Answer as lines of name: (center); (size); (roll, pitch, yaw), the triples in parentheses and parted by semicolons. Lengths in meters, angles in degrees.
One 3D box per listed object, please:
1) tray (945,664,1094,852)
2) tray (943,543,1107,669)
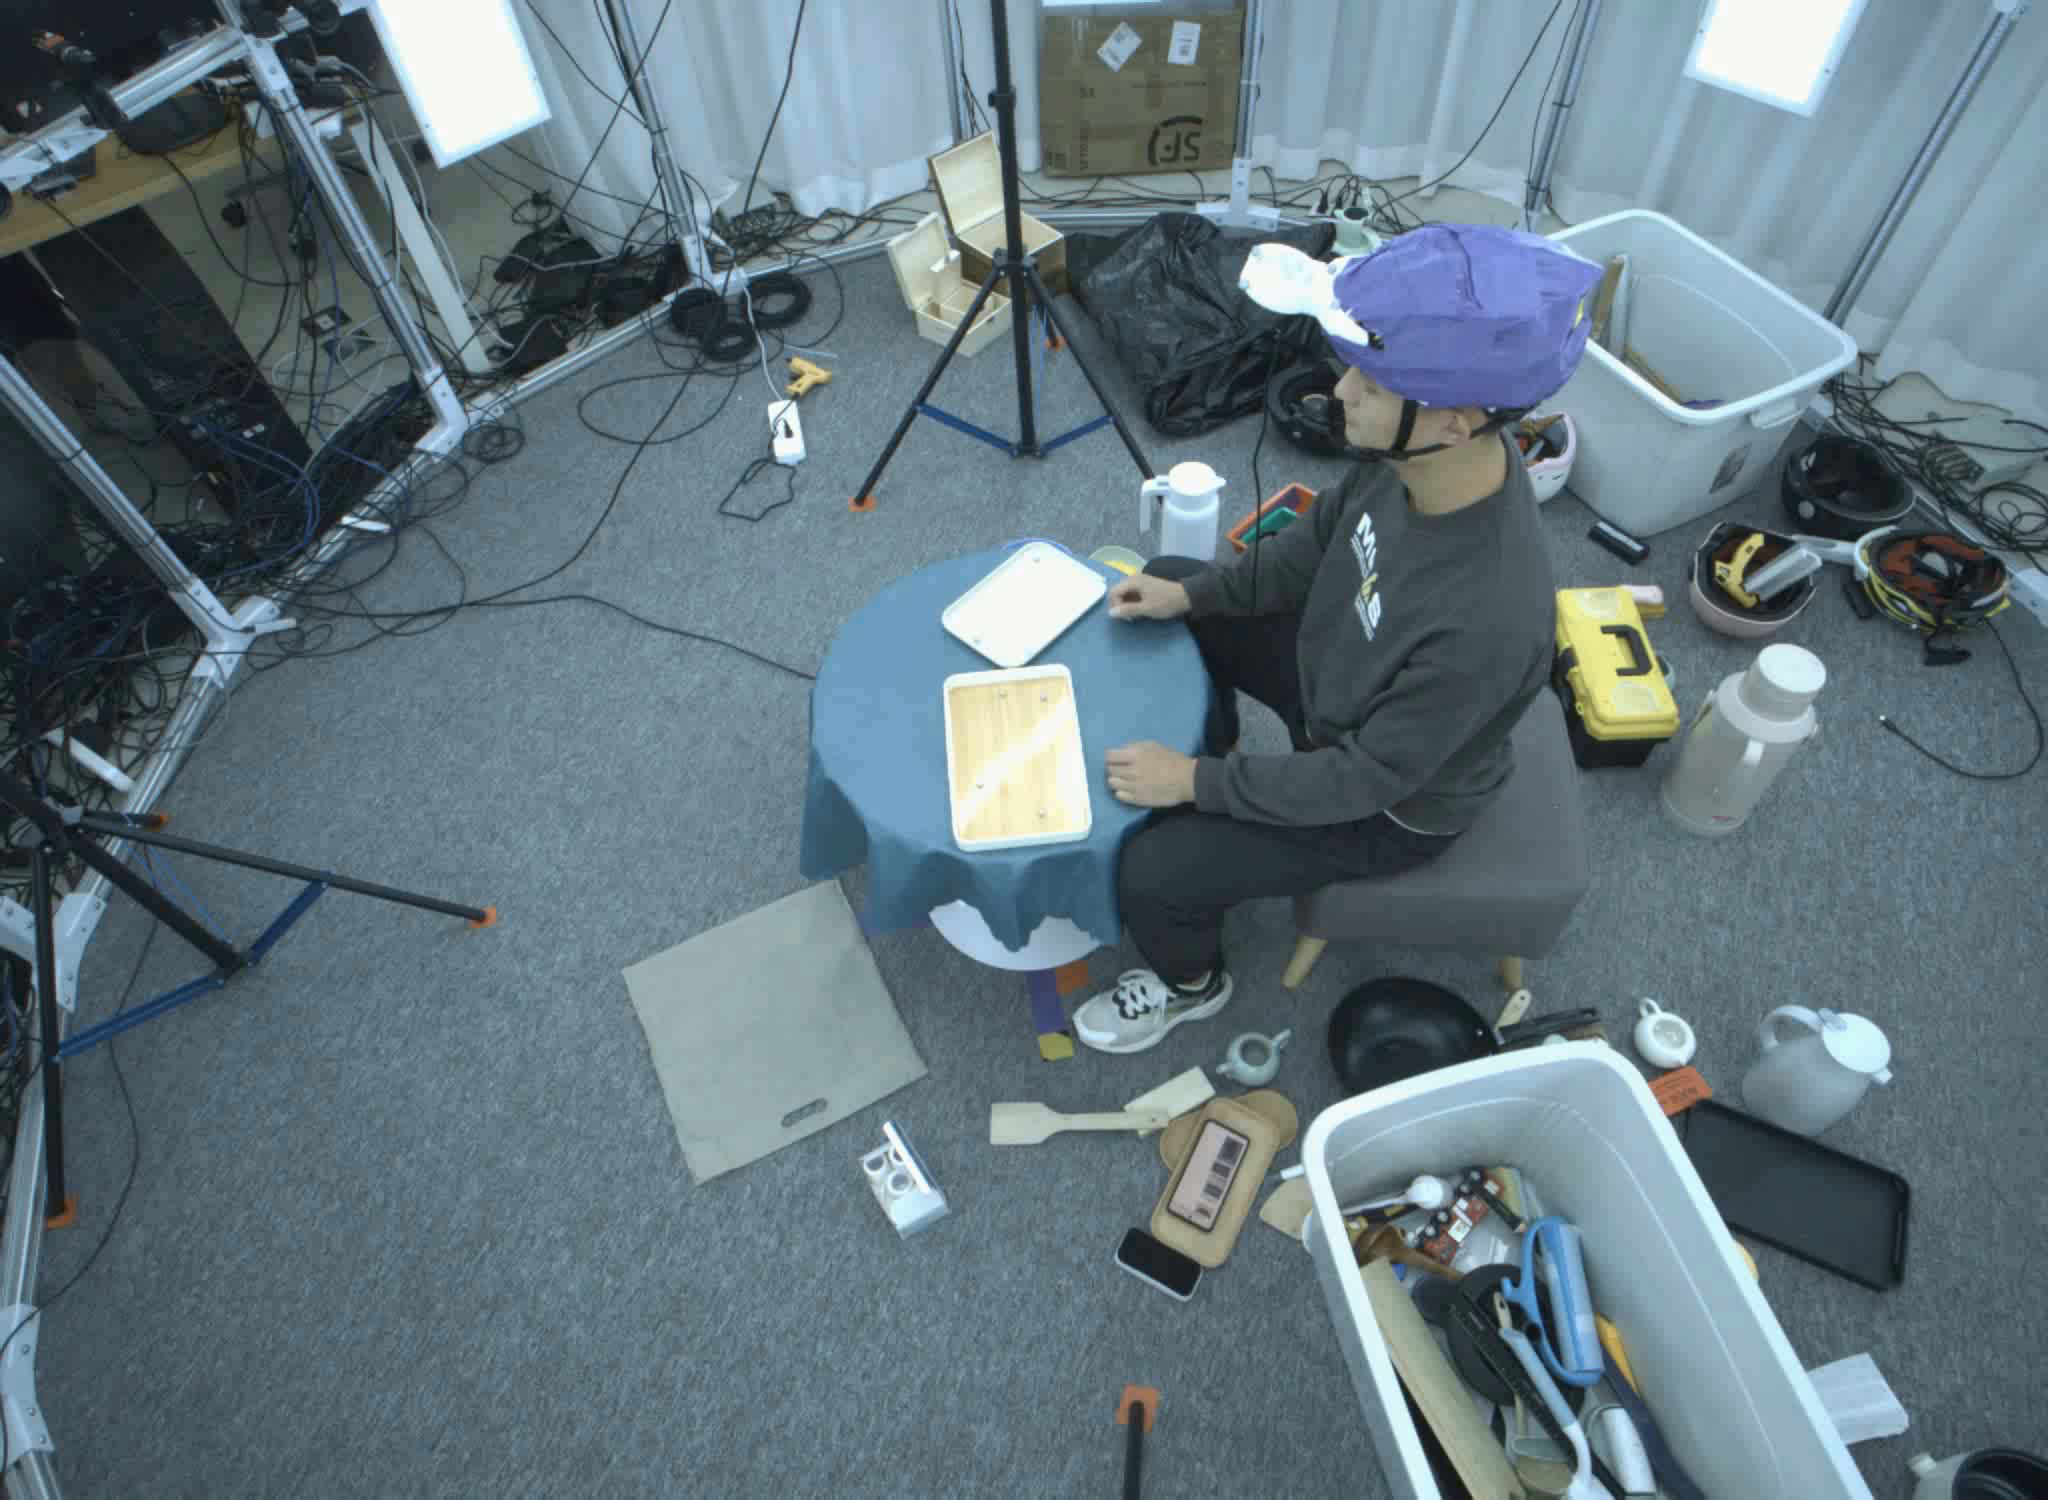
tray: (-0.011, 0.006, 1.765); (0.192, 0.028, 0.296); (-5, 55, -2)
tray: (0.002, -0.229, 1.938); (0.168, 0.017, 0.241); (36, 63, 24)
